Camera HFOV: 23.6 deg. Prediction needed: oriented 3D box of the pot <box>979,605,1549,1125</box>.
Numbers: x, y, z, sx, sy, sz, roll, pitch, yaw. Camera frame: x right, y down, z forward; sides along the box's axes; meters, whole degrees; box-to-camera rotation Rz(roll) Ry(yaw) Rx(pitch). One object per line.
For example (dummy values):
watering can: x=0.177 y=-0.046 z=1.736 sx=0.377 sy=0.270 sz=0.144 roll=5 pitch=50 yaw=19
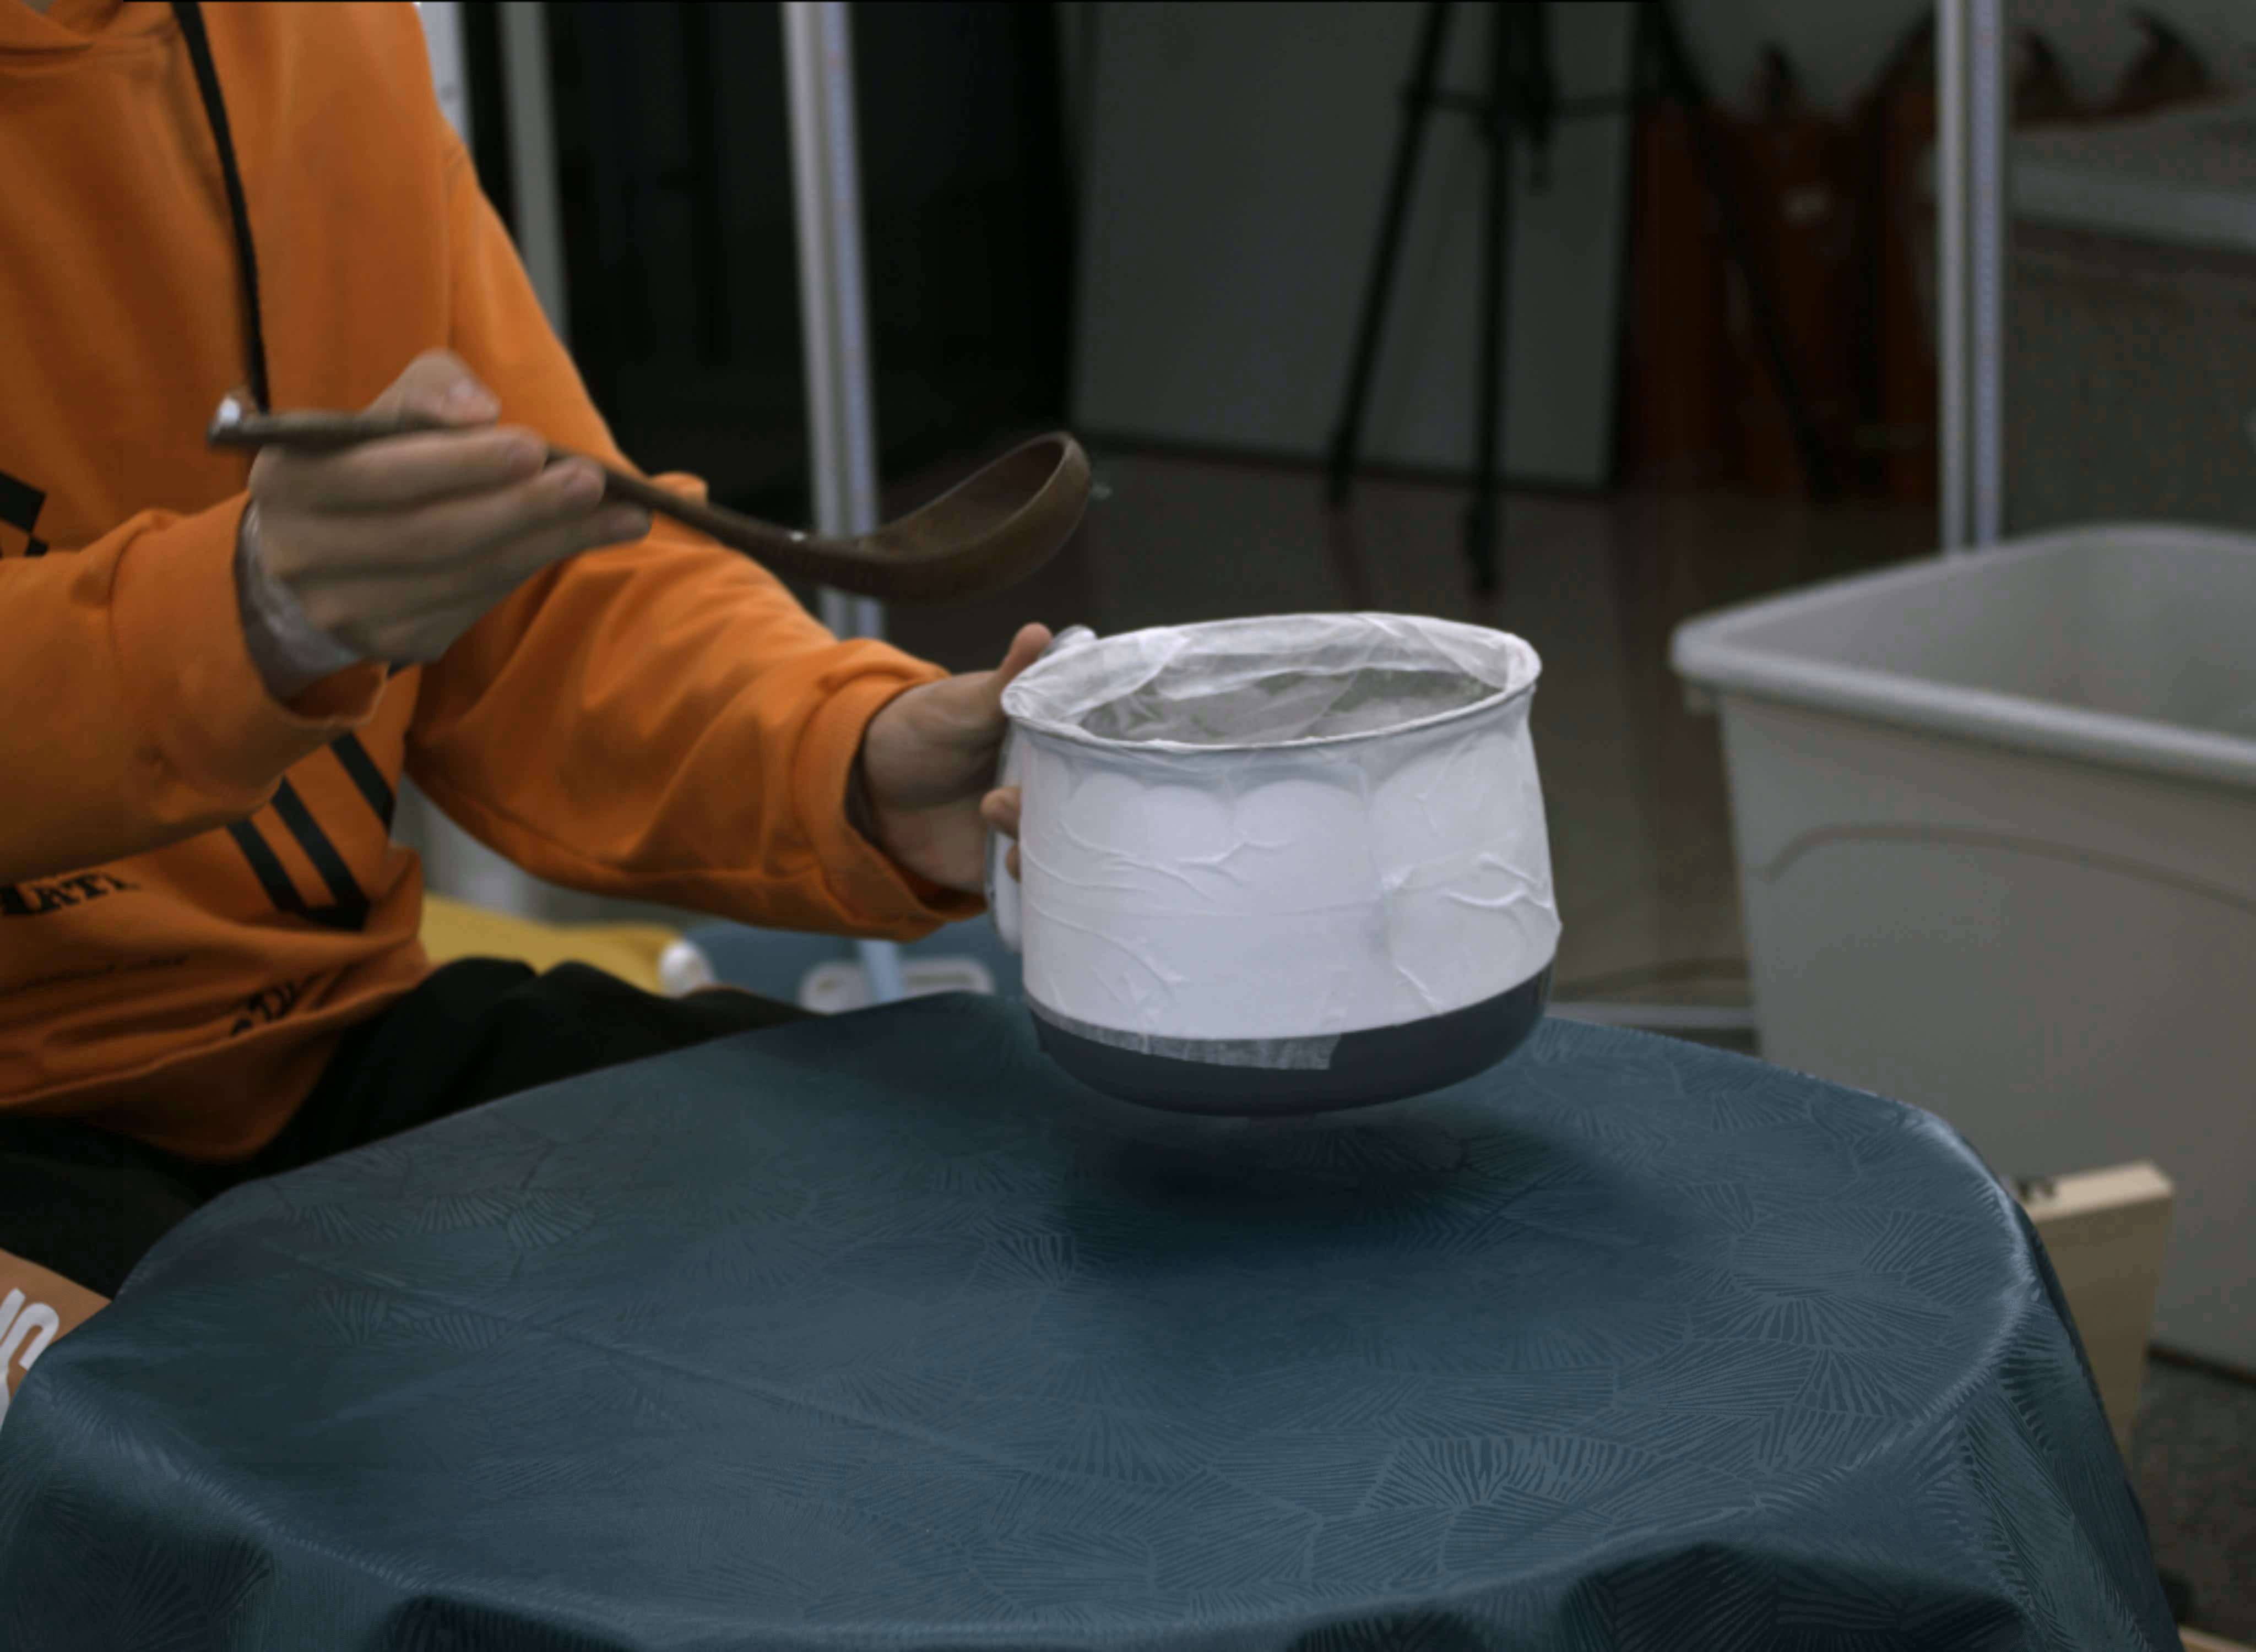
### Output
pot: x=0.030 y=0.007 z=1.780 sx=0.175 sy=0.138 sz=0.236 roll=-15 pitch=18 yaw=-39

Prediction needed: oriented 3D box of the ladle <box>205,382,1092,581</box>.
ladle: x=-0.144 y=-0.129 z=1.676 sx=0.269 sy=0.072 sz=0.076 roll=14 pitch=3 yaw=-14
